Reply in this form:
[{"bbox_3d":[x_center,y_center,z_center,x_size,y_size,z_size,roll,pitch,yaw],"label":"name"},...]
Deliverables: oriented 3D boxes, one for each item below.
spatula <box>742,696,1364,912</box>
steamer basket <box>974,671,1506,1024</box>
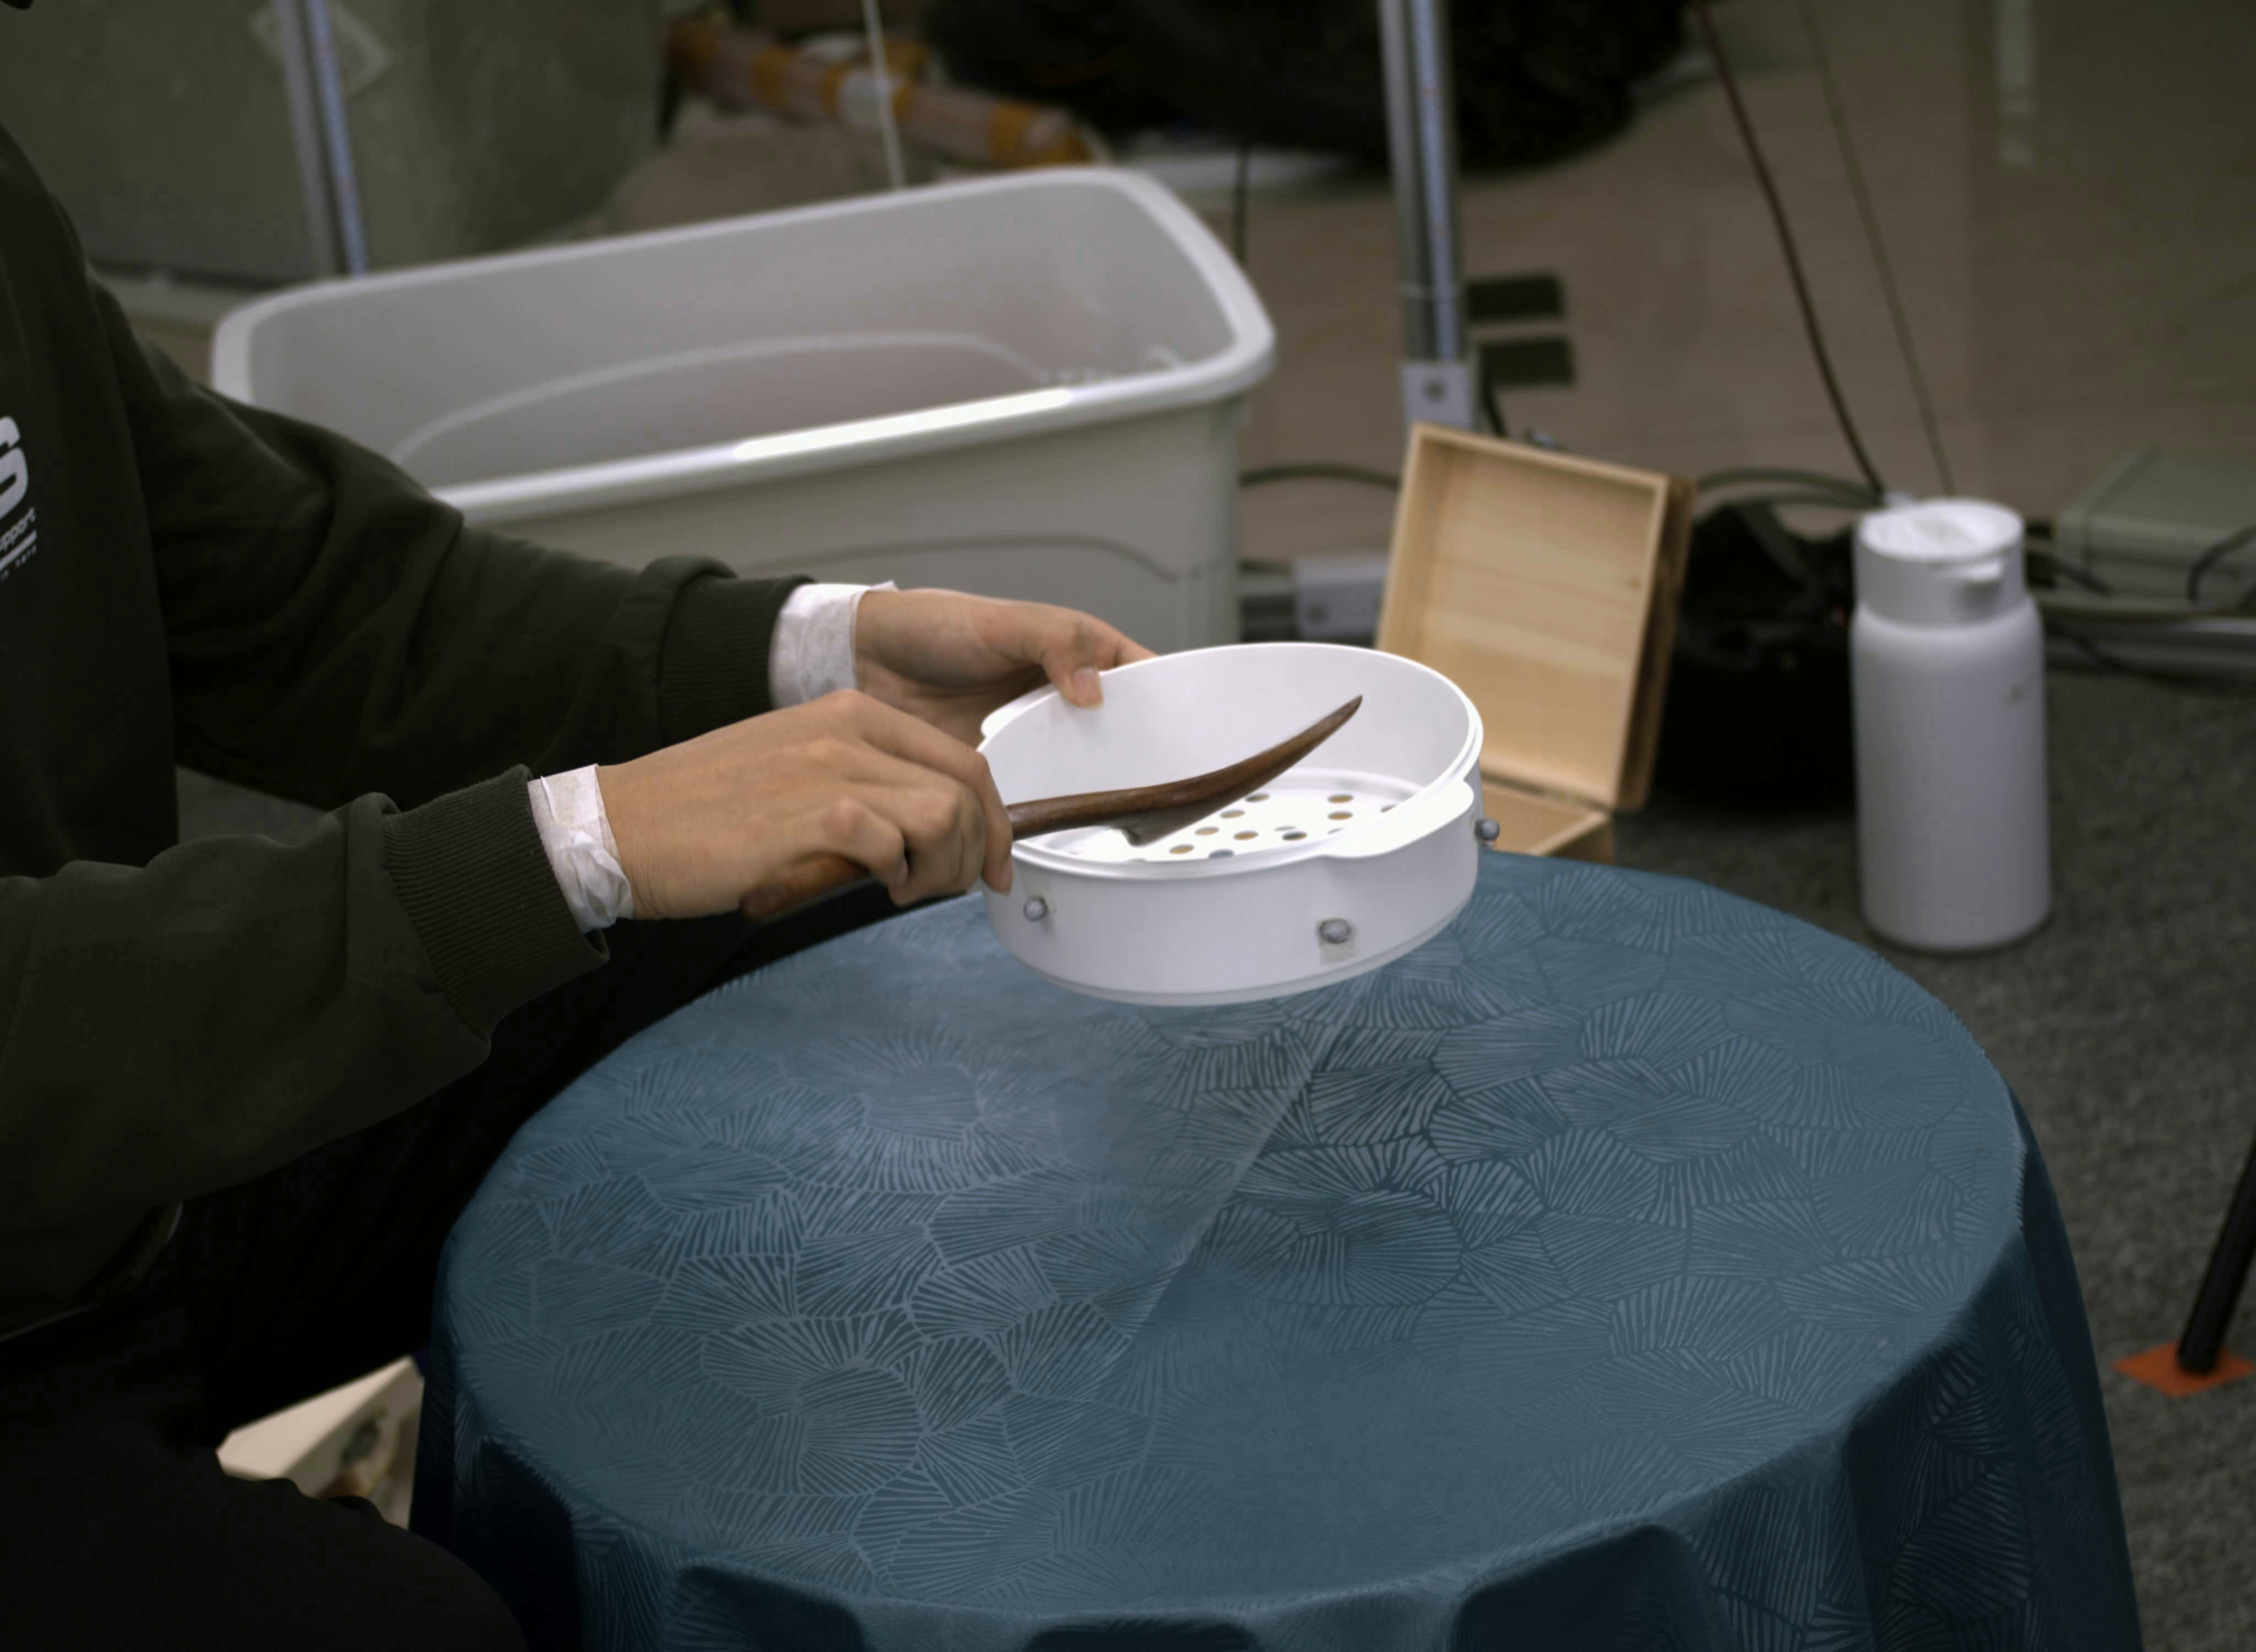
[{"bbox_3d":[-0.024,-0.001,1.968,0.086,0.023,0.384,-34,-11,28],"label":"spatula"},{"bbox_3d":[0.045,0.009,2.155,0.200,0.070,0.229,-28,27,-34],"label":"steamer basket"}]
